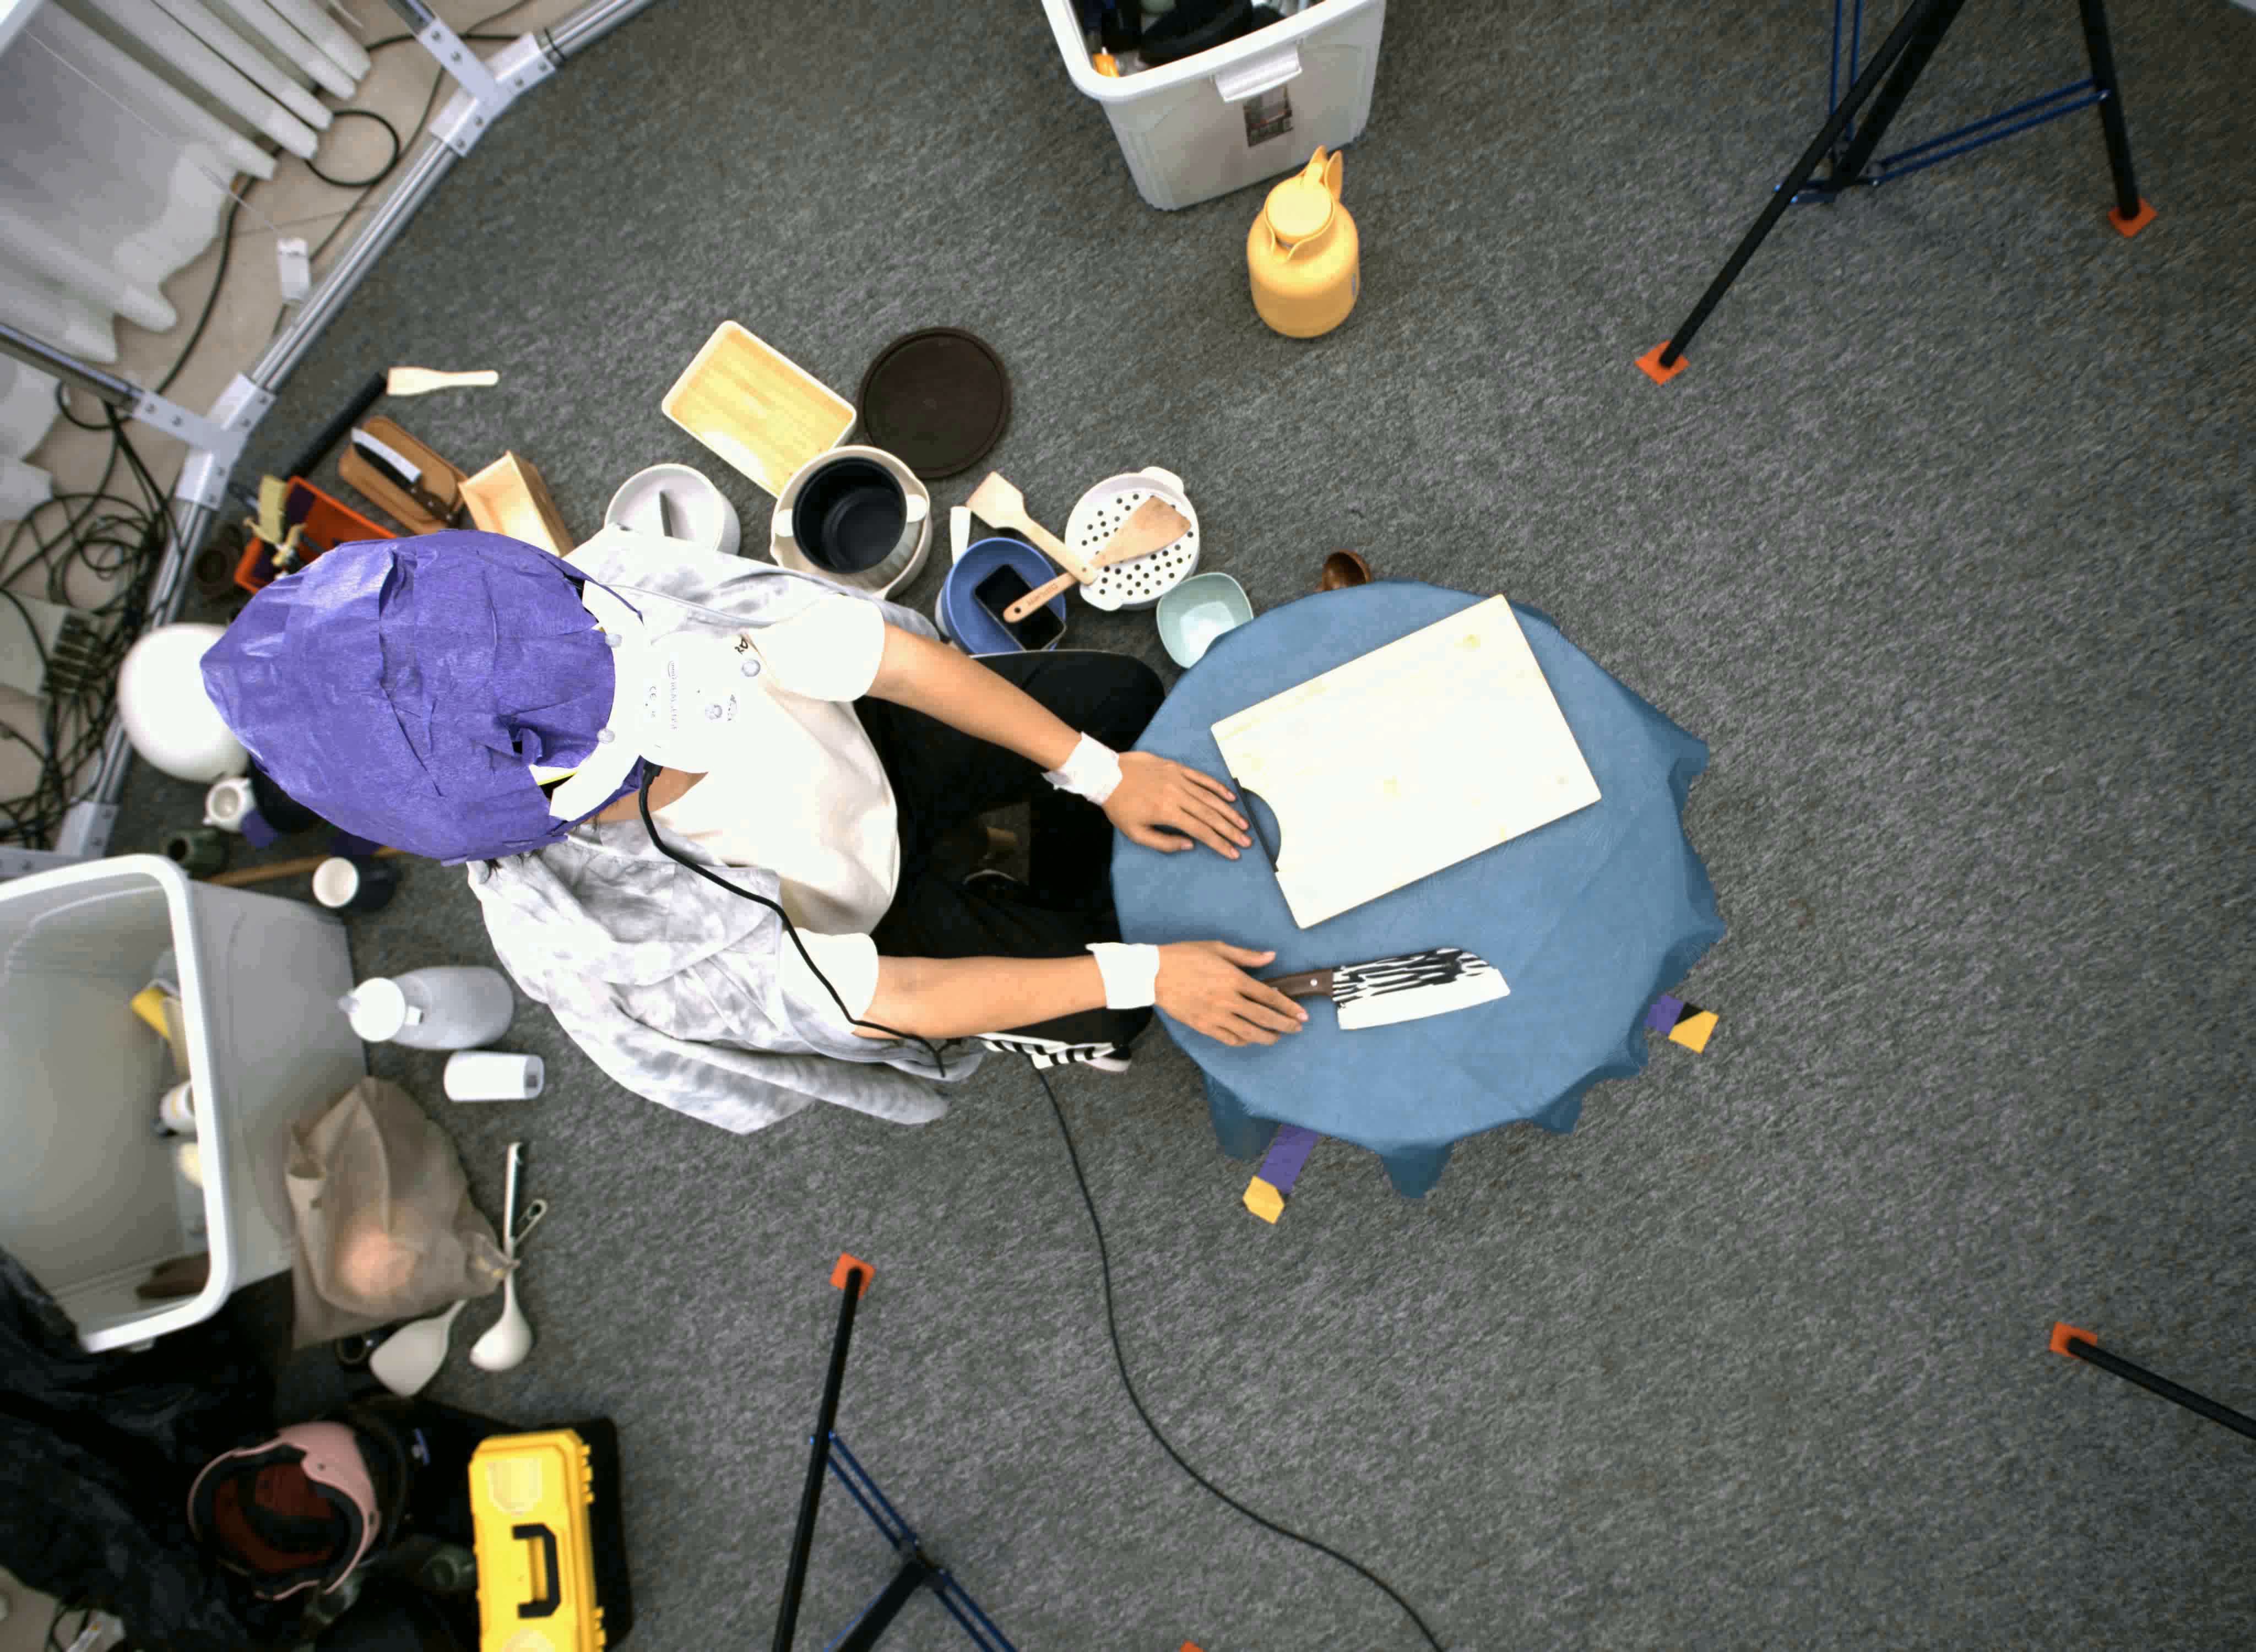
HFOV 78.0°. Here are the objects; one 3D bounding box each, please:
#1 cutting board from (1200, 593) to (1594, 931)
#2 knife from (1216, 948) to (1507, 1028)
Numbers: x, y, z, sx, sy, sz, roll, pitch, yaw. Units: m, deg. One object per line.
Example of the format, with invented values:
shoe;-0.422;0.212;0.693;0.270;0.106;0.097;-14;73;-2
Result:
cutting board;0.283;-0.068;1.455;0.351;0.023;0.249;-25;82;9
knife;0.243;0.173;1.448;0.301;0.024;0.068;-10;87;7
